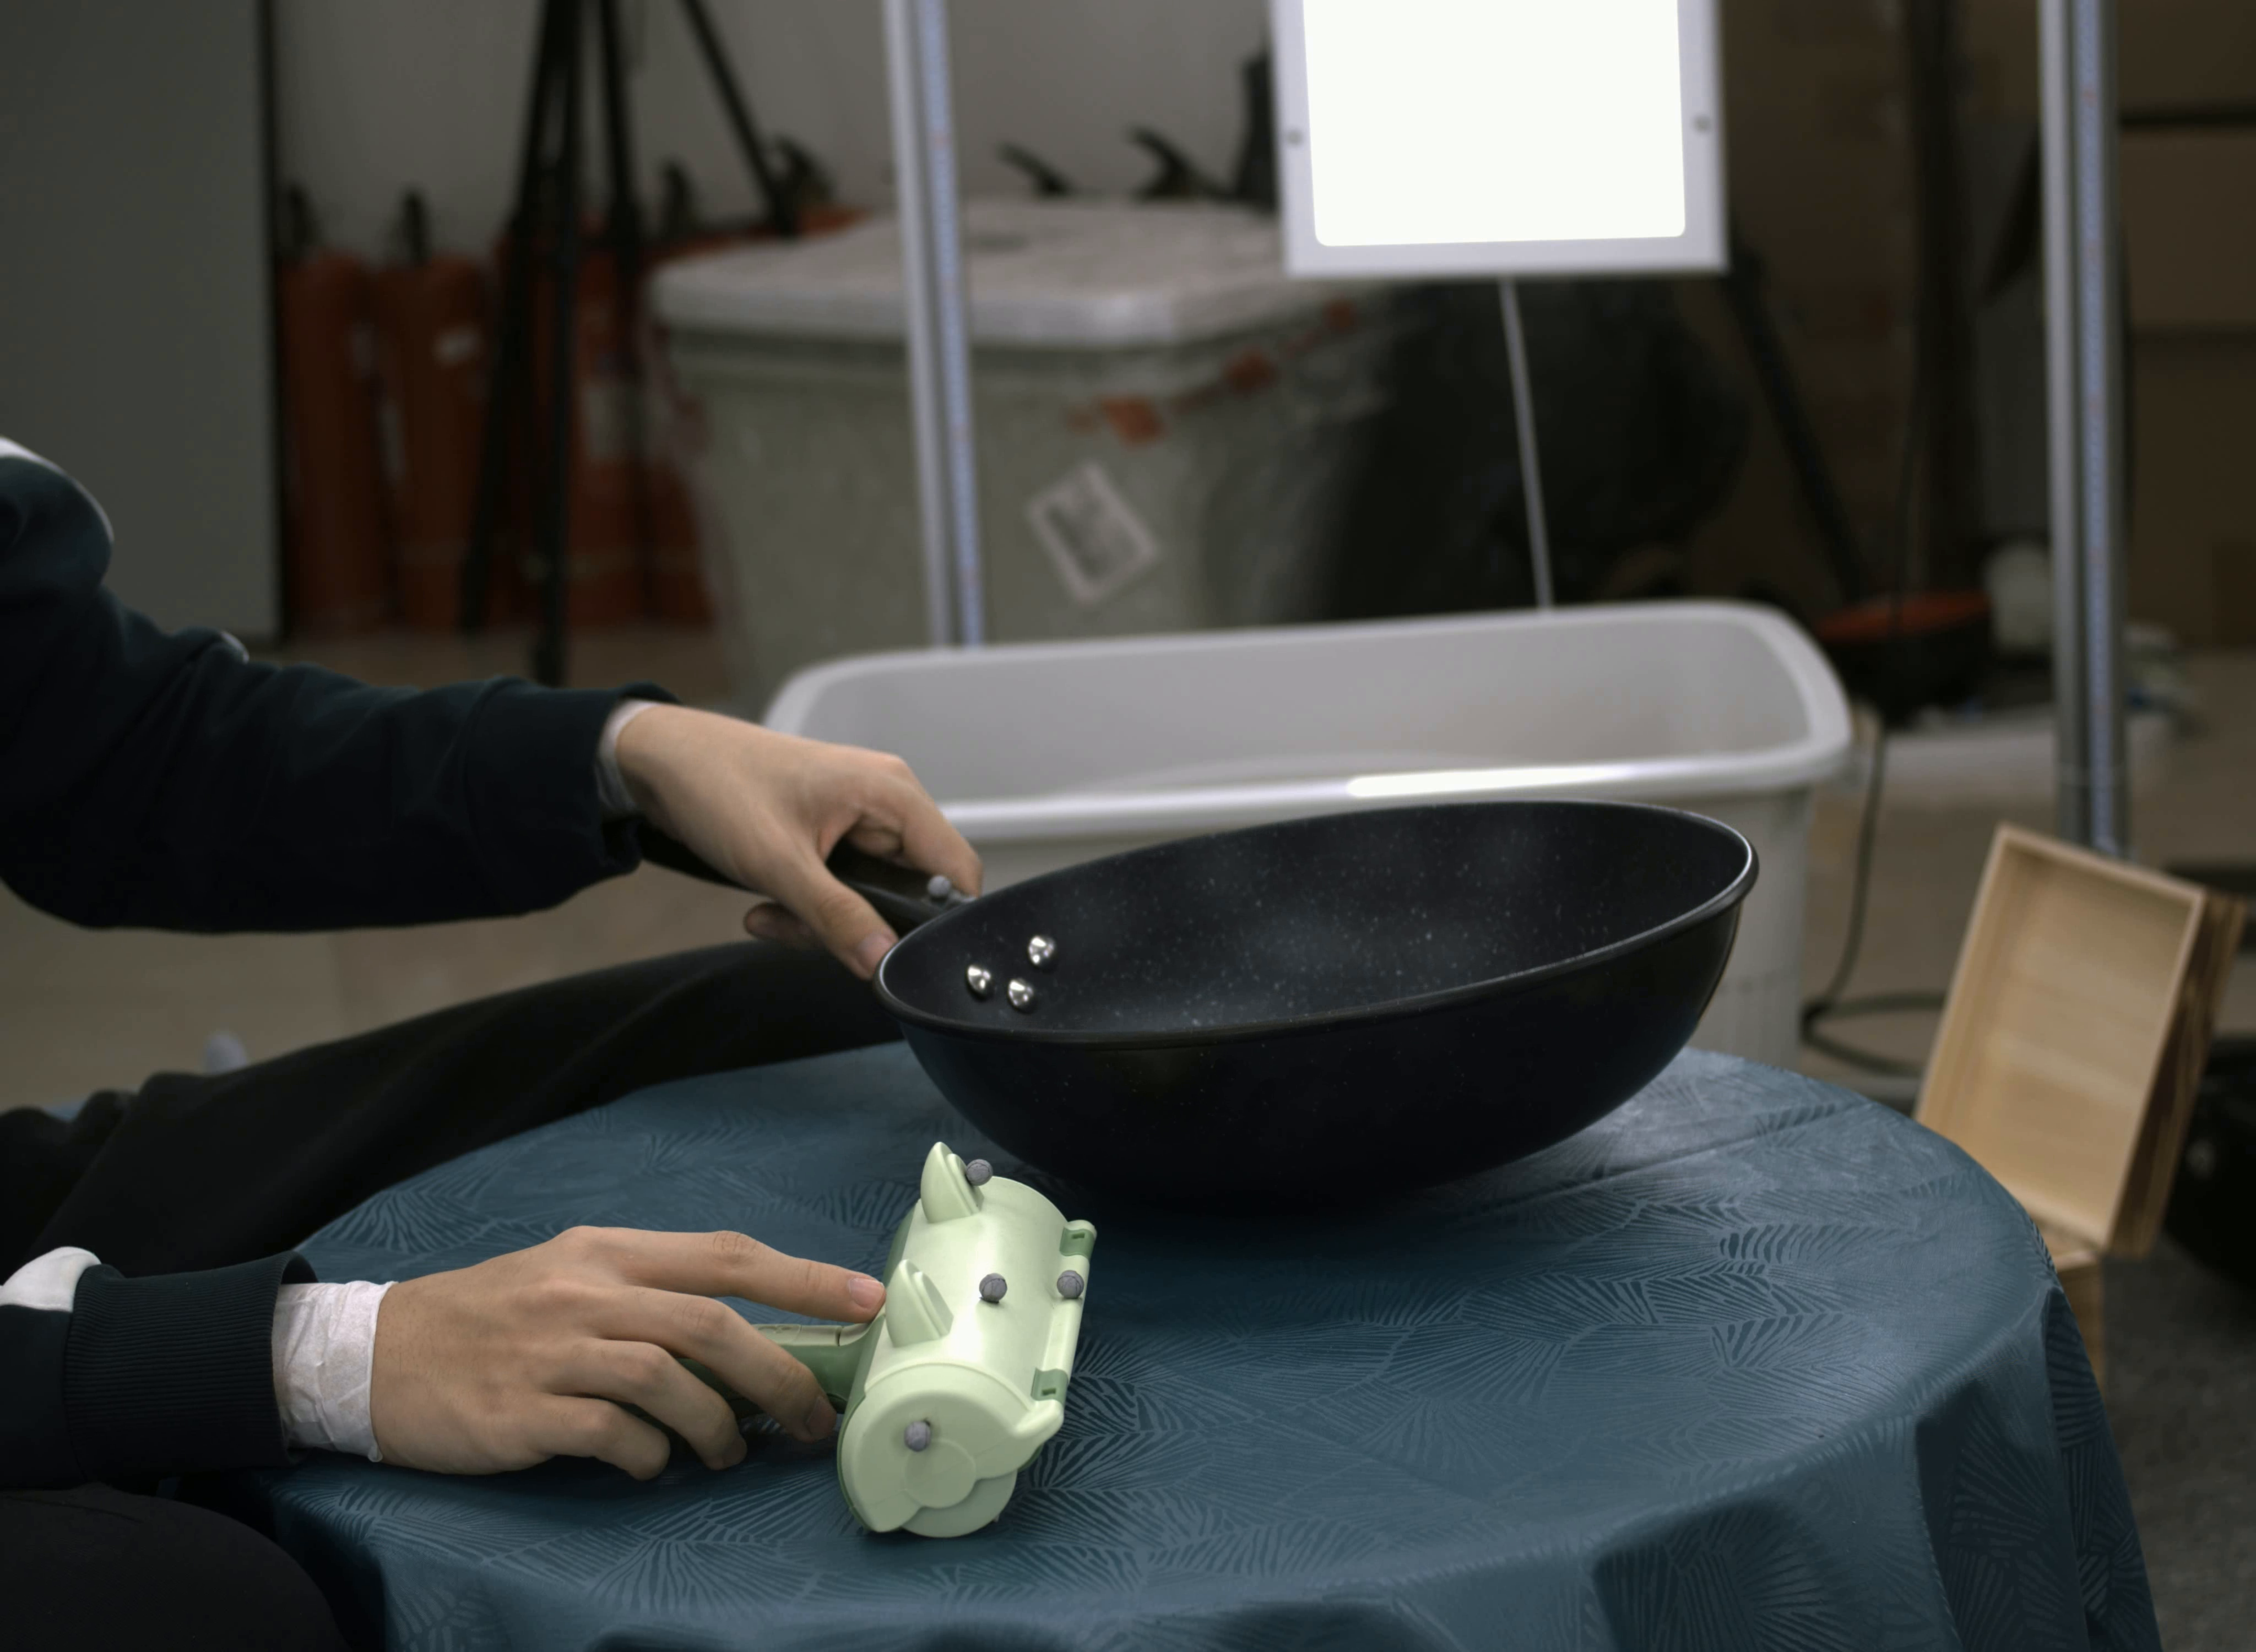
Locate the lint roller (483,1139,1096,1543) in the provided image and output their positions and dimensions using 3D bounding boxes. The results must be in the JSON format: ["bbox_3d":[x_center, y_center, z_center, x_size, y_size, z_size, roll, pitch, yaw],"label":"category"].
[{"bbox_3d":[-0.106,0.151,1.677,0.183,0.082,0.197,1,15,4],"label":"lint roller"}]

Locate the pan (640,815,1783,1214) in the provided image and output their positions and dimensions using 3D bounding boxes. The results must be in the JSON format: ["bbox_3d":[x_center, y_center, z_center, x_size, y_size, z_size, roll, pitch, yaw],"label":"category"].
[{"bbox_3d":[0.010,0.059,1.950,0.487,0.112,0.302,0,14,40],"label":"pan"}]
